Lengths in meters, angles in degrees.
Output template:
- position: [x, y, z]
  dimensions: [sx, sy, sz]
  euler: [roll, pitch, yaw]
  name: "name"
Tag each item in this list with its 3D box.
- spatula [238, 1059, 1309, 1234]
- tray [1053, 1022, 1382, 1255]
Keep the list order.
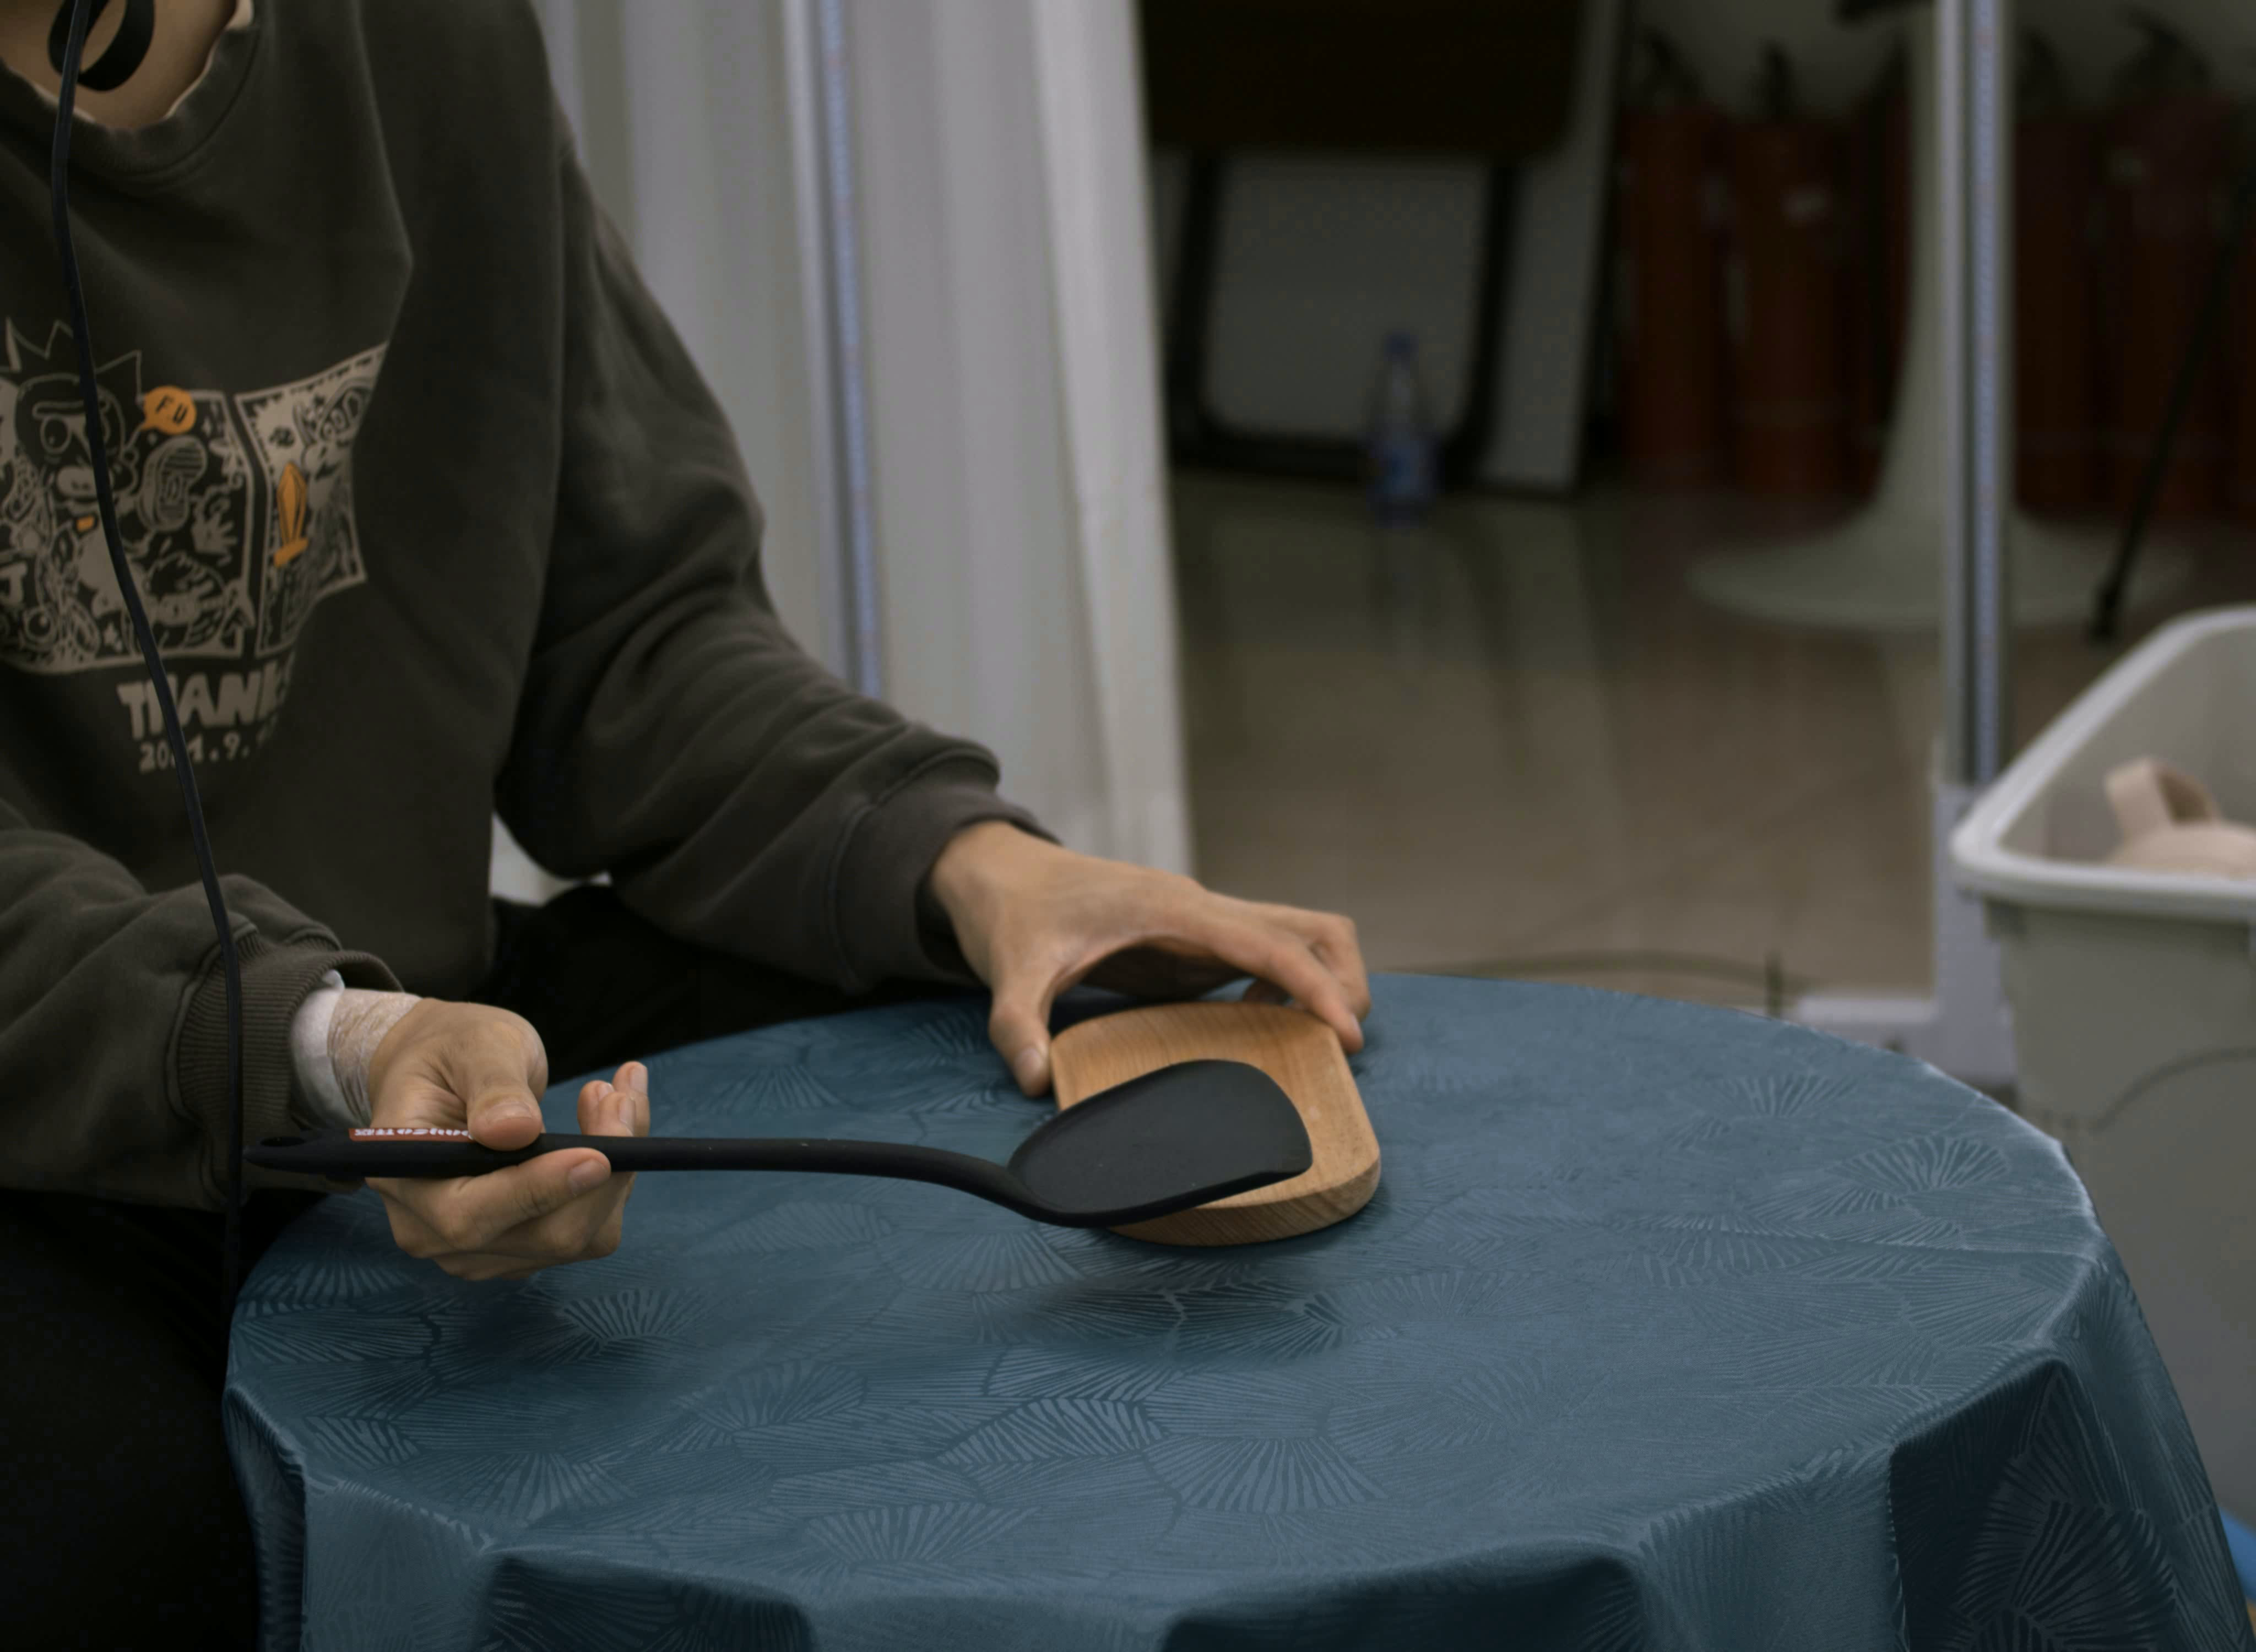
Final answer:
- position: [-0.107, 0.095, 1.645]
  dimensions: [0.320, 0.041, 0.100]
  euler: [4, 16, -12]
  name: "spatula"
- position: [0.028, 0.103, 1.813]
  dimensions: [0.100, 0.020, 0.232]
  euler: [-6, 15, -2]
  name: "tray"
